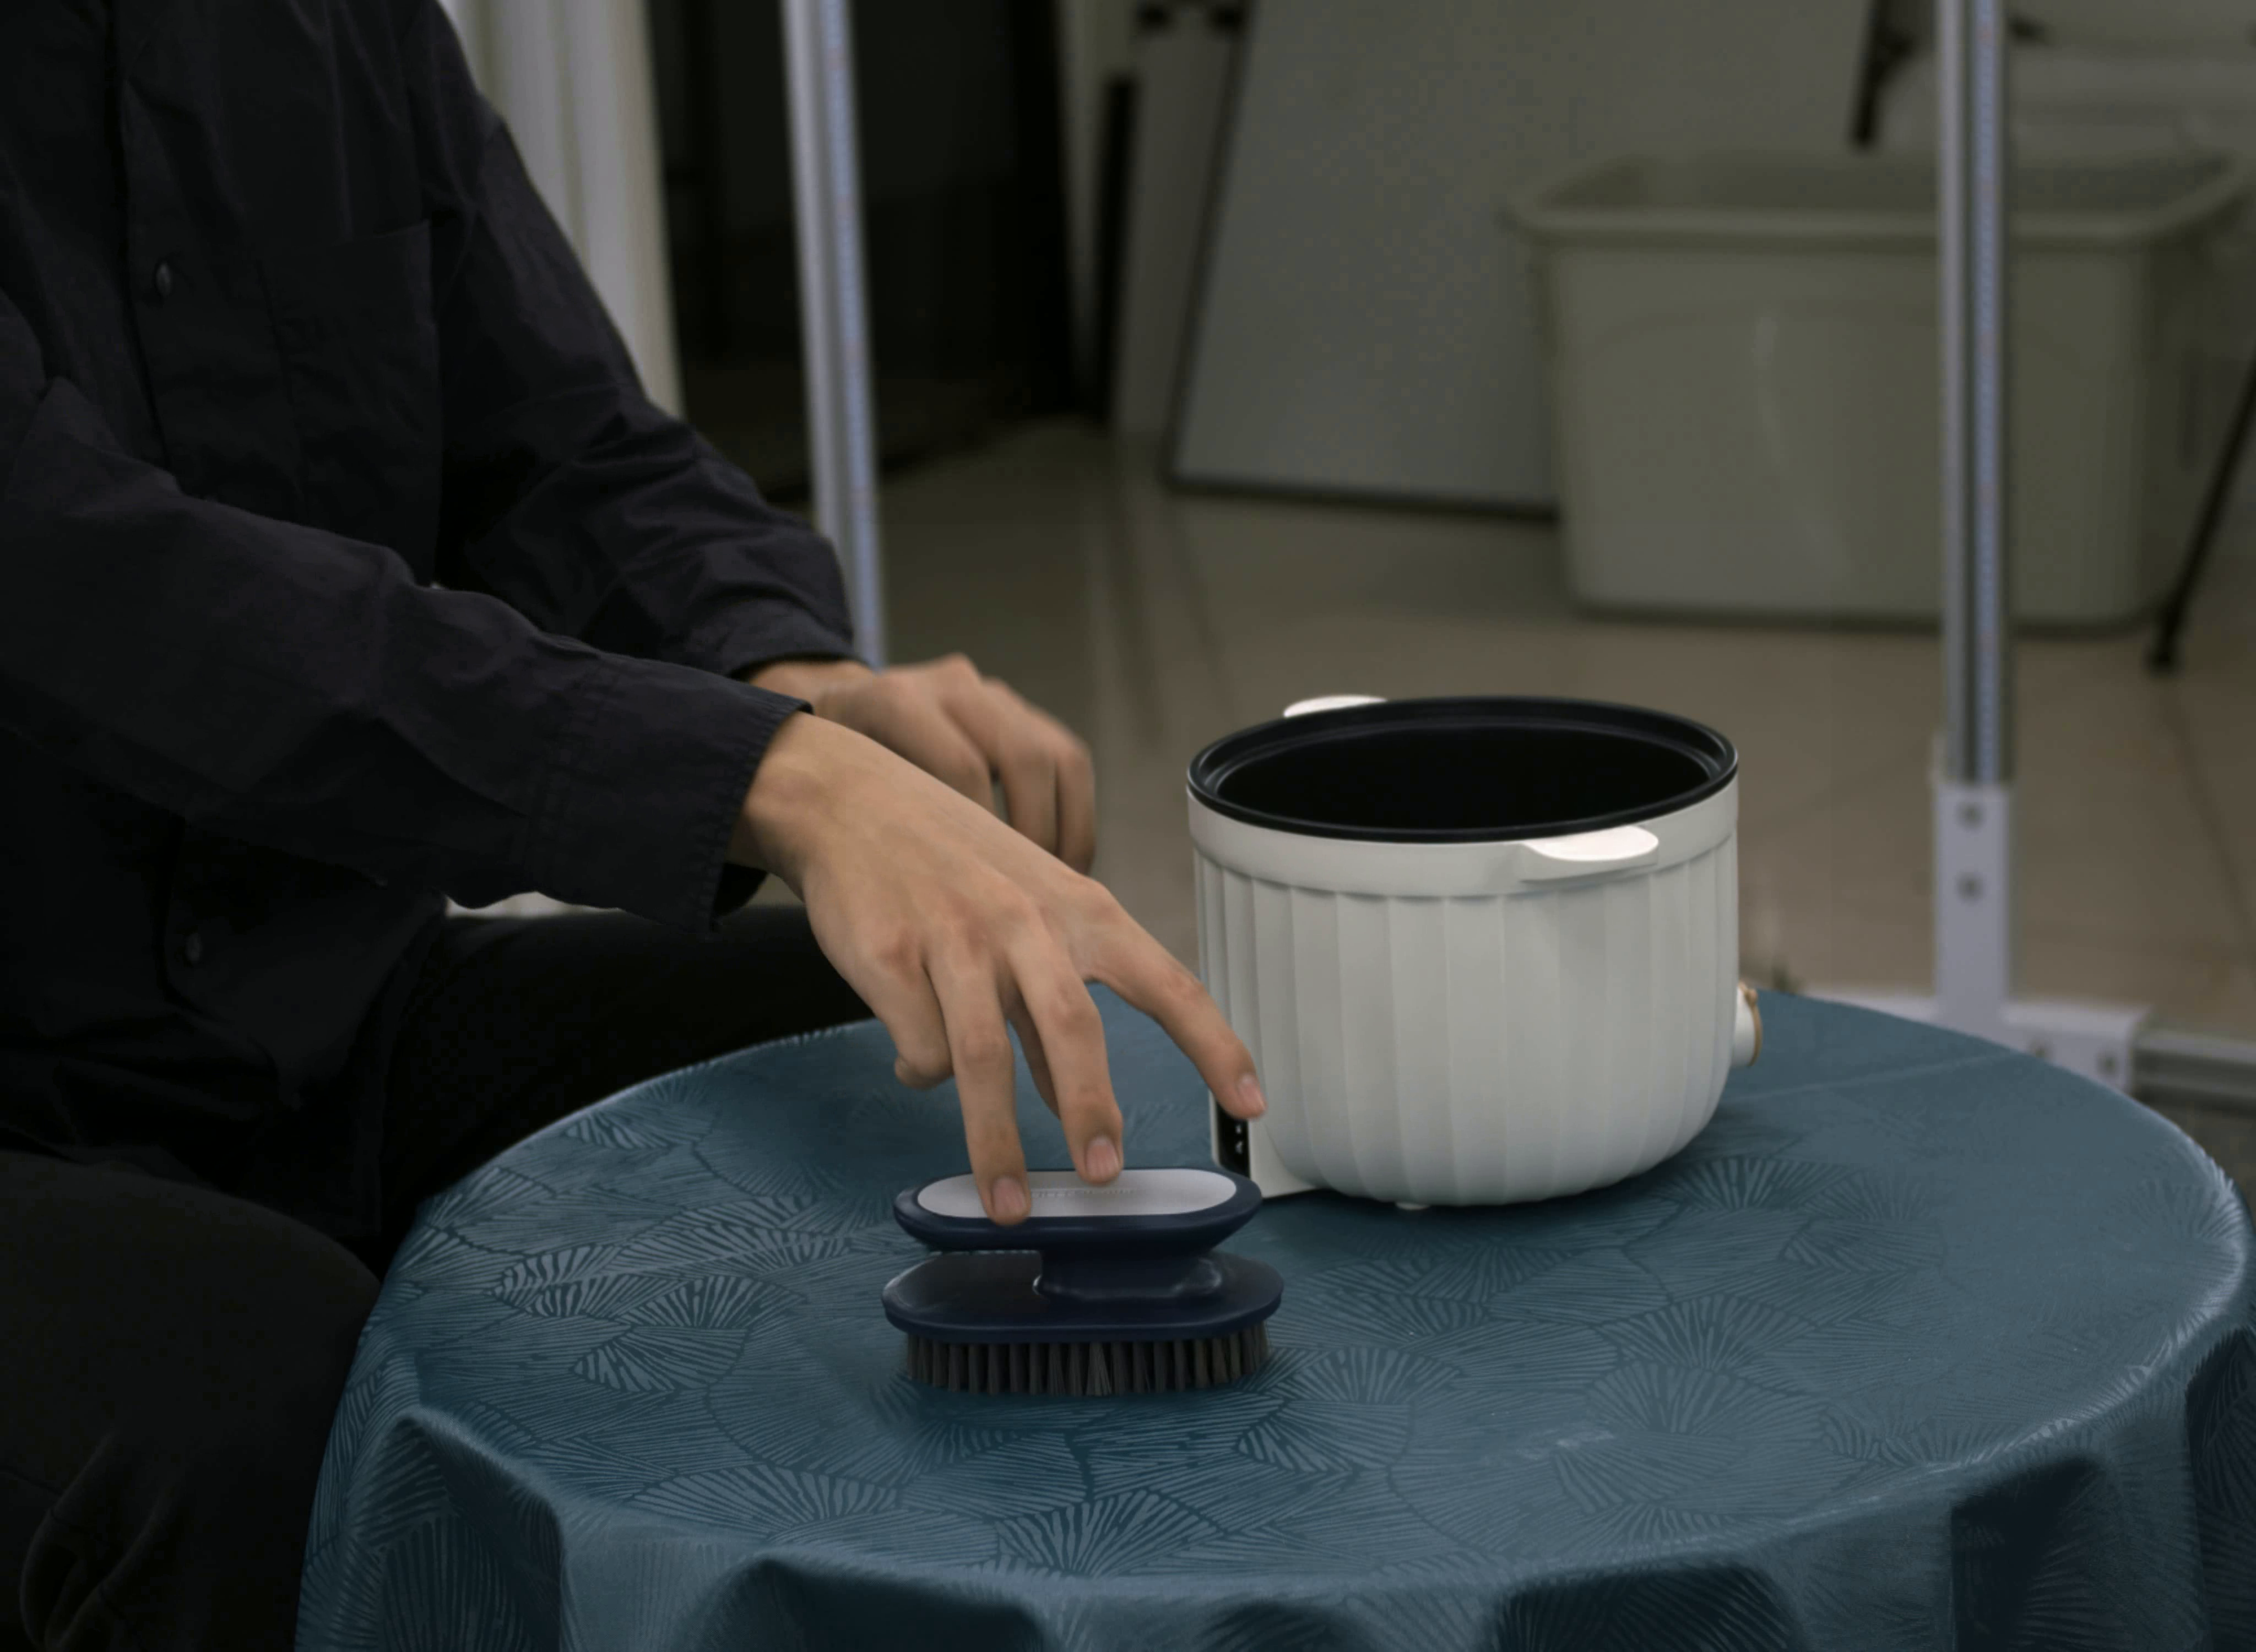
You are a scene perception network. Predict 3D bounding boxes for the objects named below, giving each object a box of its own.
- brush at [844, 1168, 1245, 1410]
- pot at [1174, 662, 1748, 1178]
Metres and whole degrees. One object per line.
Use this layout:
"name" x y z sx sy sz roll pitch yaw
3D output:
"brush" -0.025 0.139 1.604 0.121 0.062 0.067 2 16 12
"pot" 0.115 0.031 1.788 0.186 0.144 0.243 -11 17 -19
